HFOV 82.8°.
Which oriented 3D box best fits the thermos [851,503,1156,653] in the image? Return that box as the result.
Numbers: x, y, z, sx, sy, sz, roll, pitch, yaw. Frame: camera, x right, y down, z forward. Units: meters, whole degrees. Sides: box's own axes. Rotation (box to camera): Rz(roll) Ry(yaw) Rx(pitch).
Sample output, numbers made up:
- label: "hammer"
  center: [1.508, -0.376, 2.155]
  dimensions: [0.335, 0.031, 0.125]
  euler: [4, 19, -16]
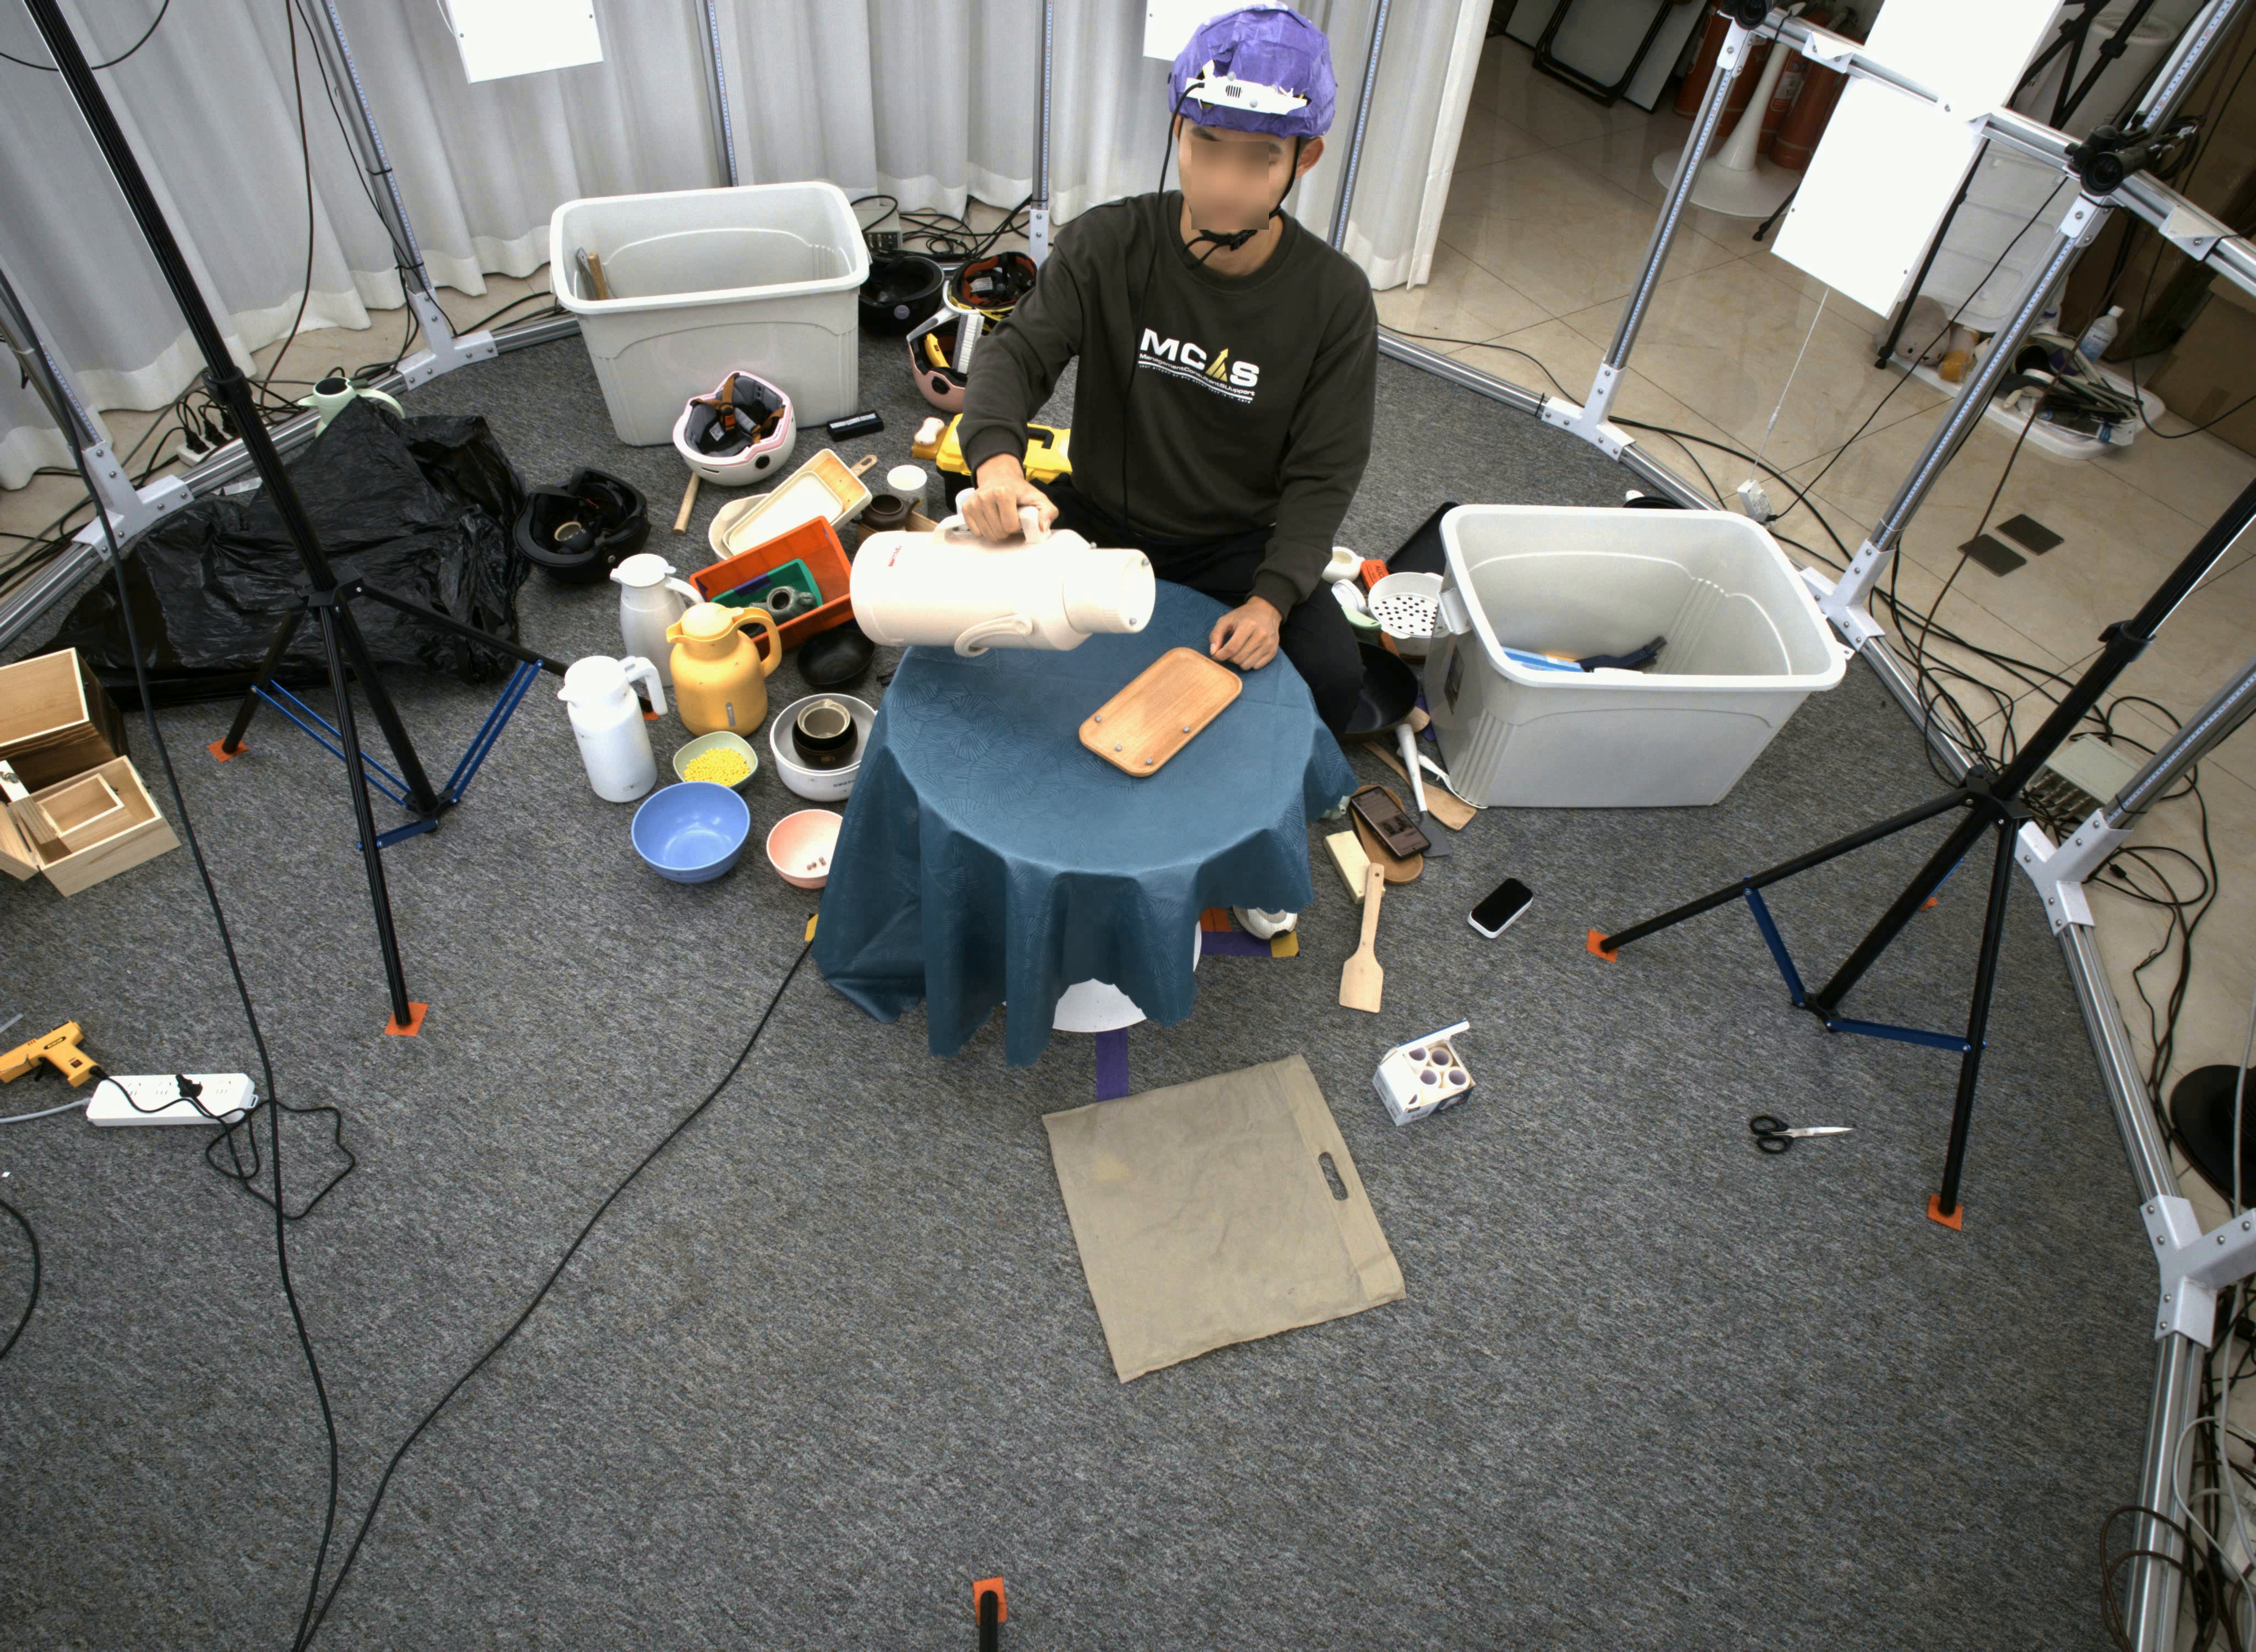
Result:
- label: "thermos"
  center: [-0.166, -0.328, 1.707]
  dimensions: [0.408, 0.202, 0.178]
  euler: [6, 43, 30]

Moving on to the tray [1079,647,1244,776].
- label: "tray"
  center: [0.049, -0.163, 1.799]
  dimensions: [0.132, 0.022, 0.253]
  euler: [35, 54, 21]
